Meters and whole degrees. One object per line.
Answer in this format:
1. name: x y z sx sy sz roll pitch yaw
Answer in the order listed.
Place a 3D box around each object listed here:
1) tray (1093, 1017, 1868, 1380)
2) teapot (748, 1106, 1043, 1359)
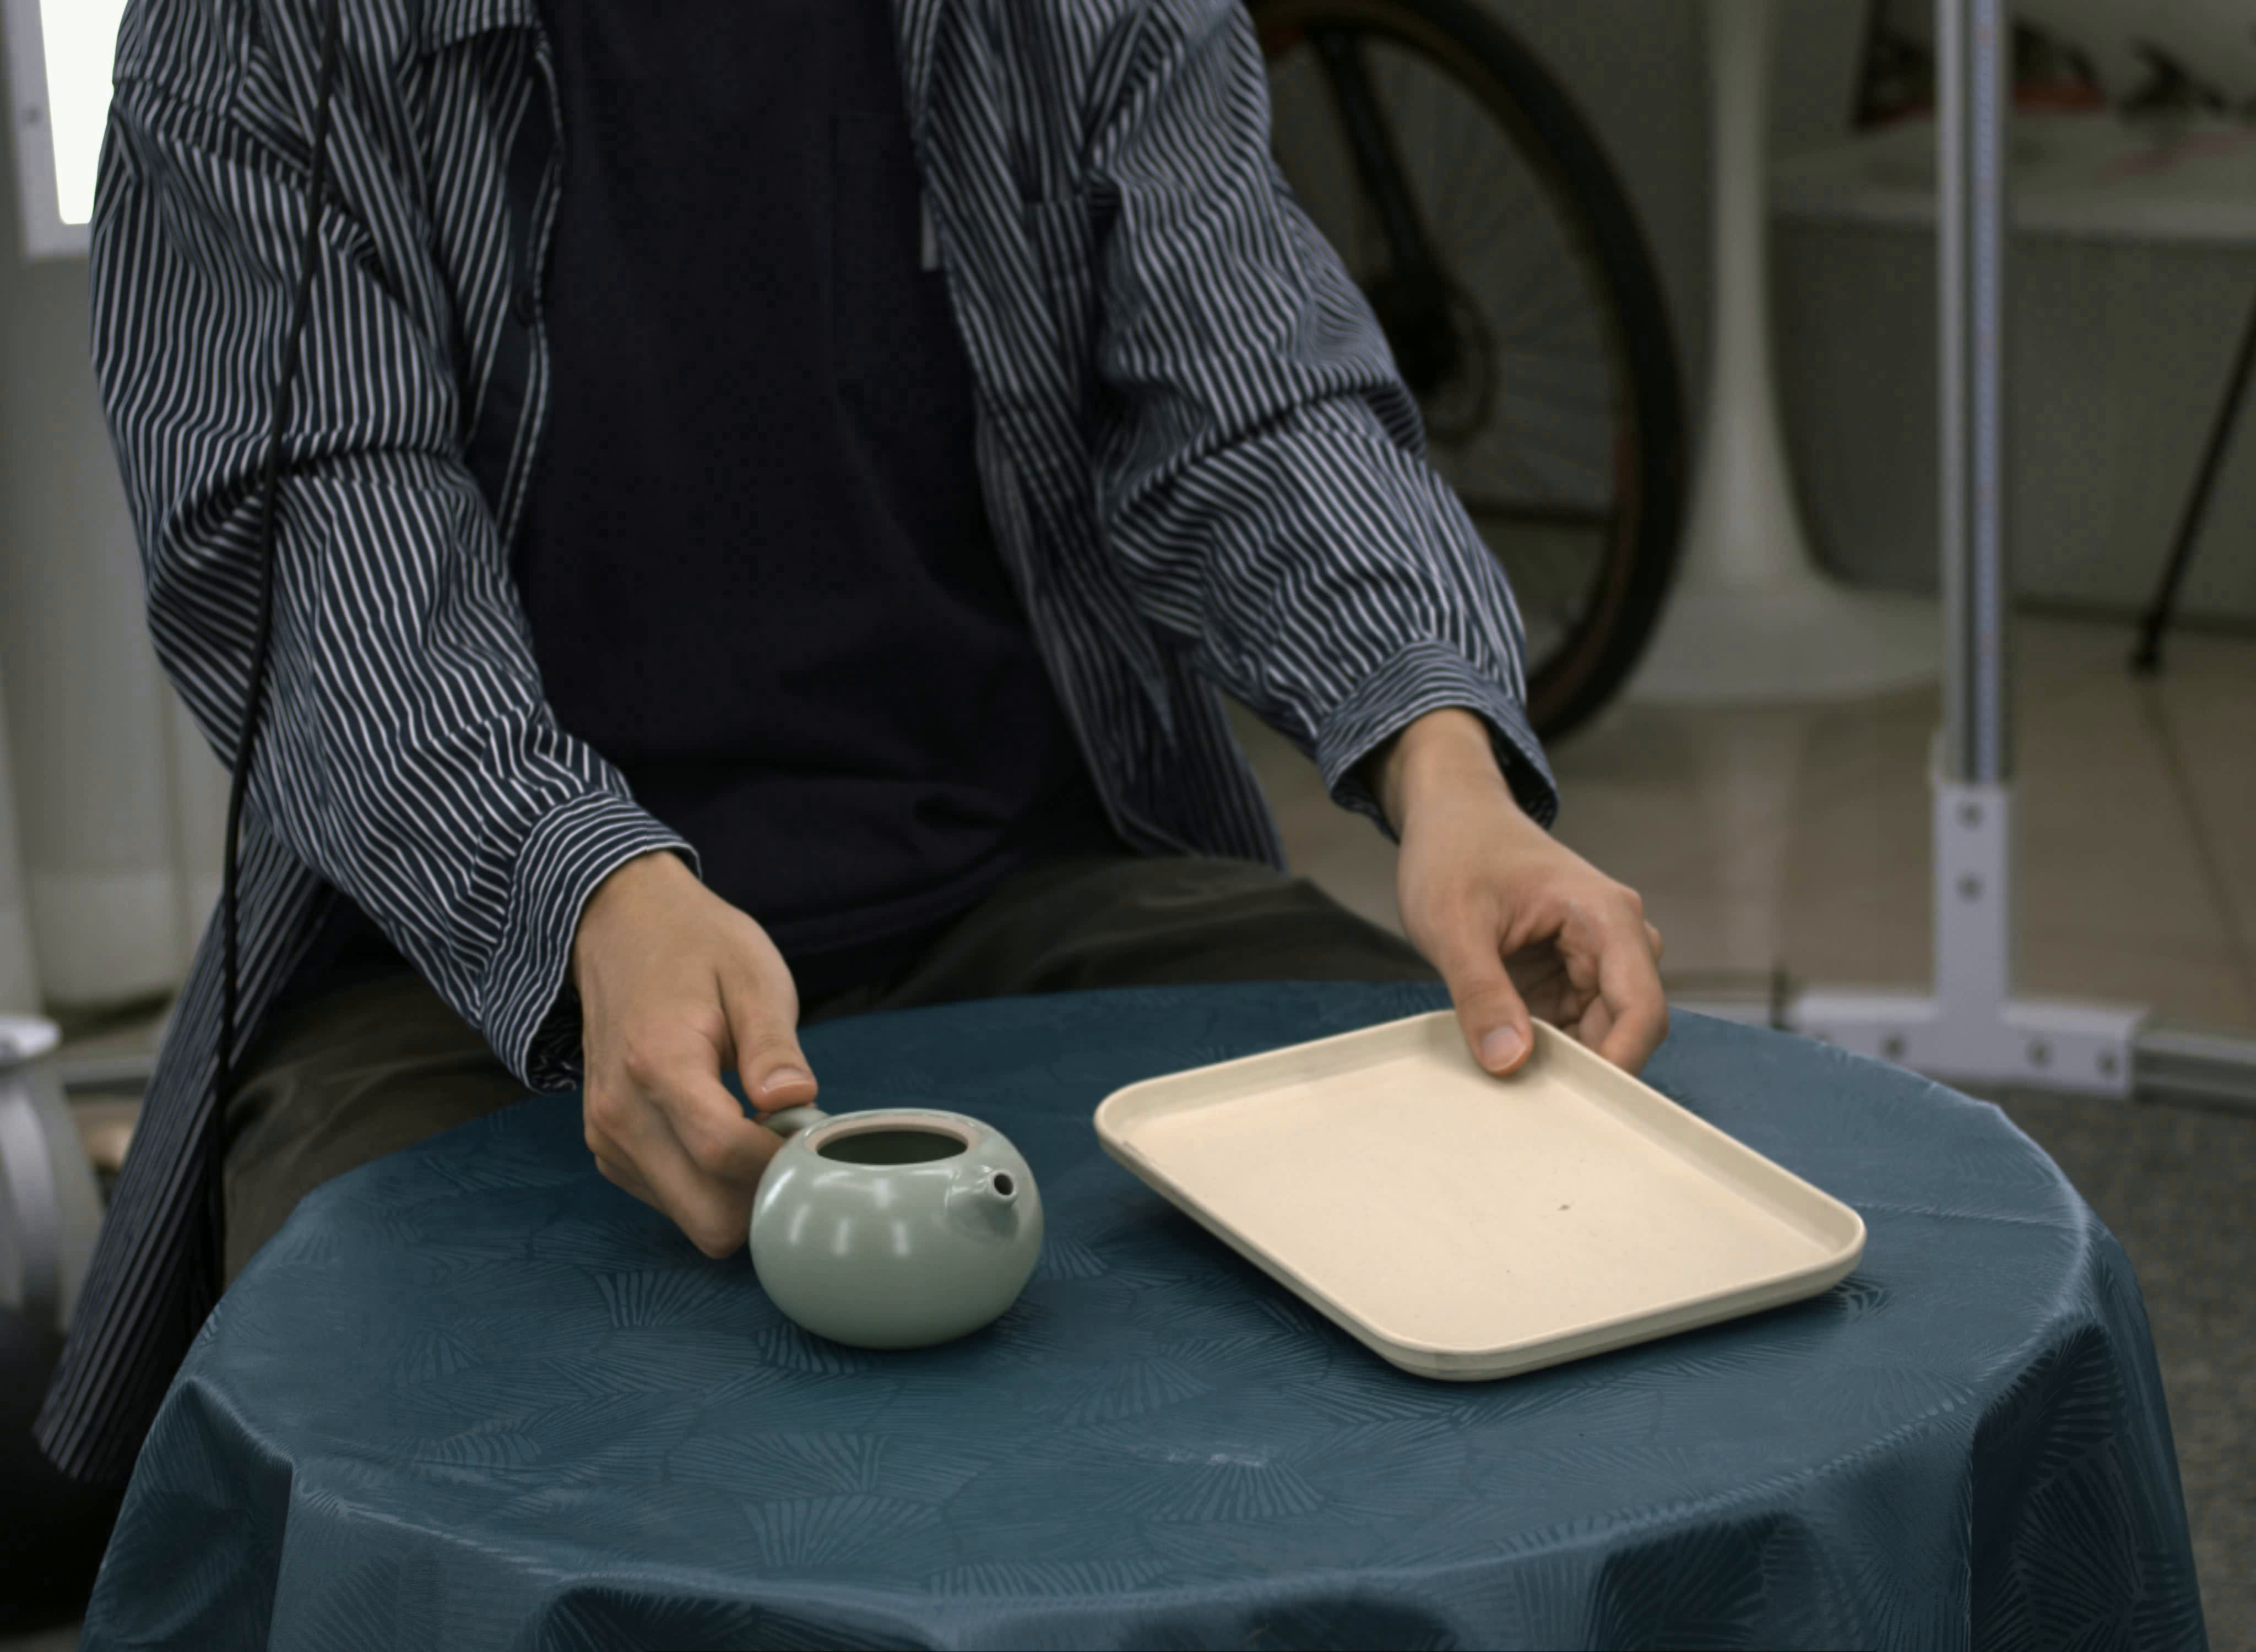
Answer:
1. tray: 0.107 0.115 1.683 0.167 0.017 0.242 -11 20 -24
2. teapot: -0.077 0.123 1.656 0.089 0.061 0.130 -14 18 -34
